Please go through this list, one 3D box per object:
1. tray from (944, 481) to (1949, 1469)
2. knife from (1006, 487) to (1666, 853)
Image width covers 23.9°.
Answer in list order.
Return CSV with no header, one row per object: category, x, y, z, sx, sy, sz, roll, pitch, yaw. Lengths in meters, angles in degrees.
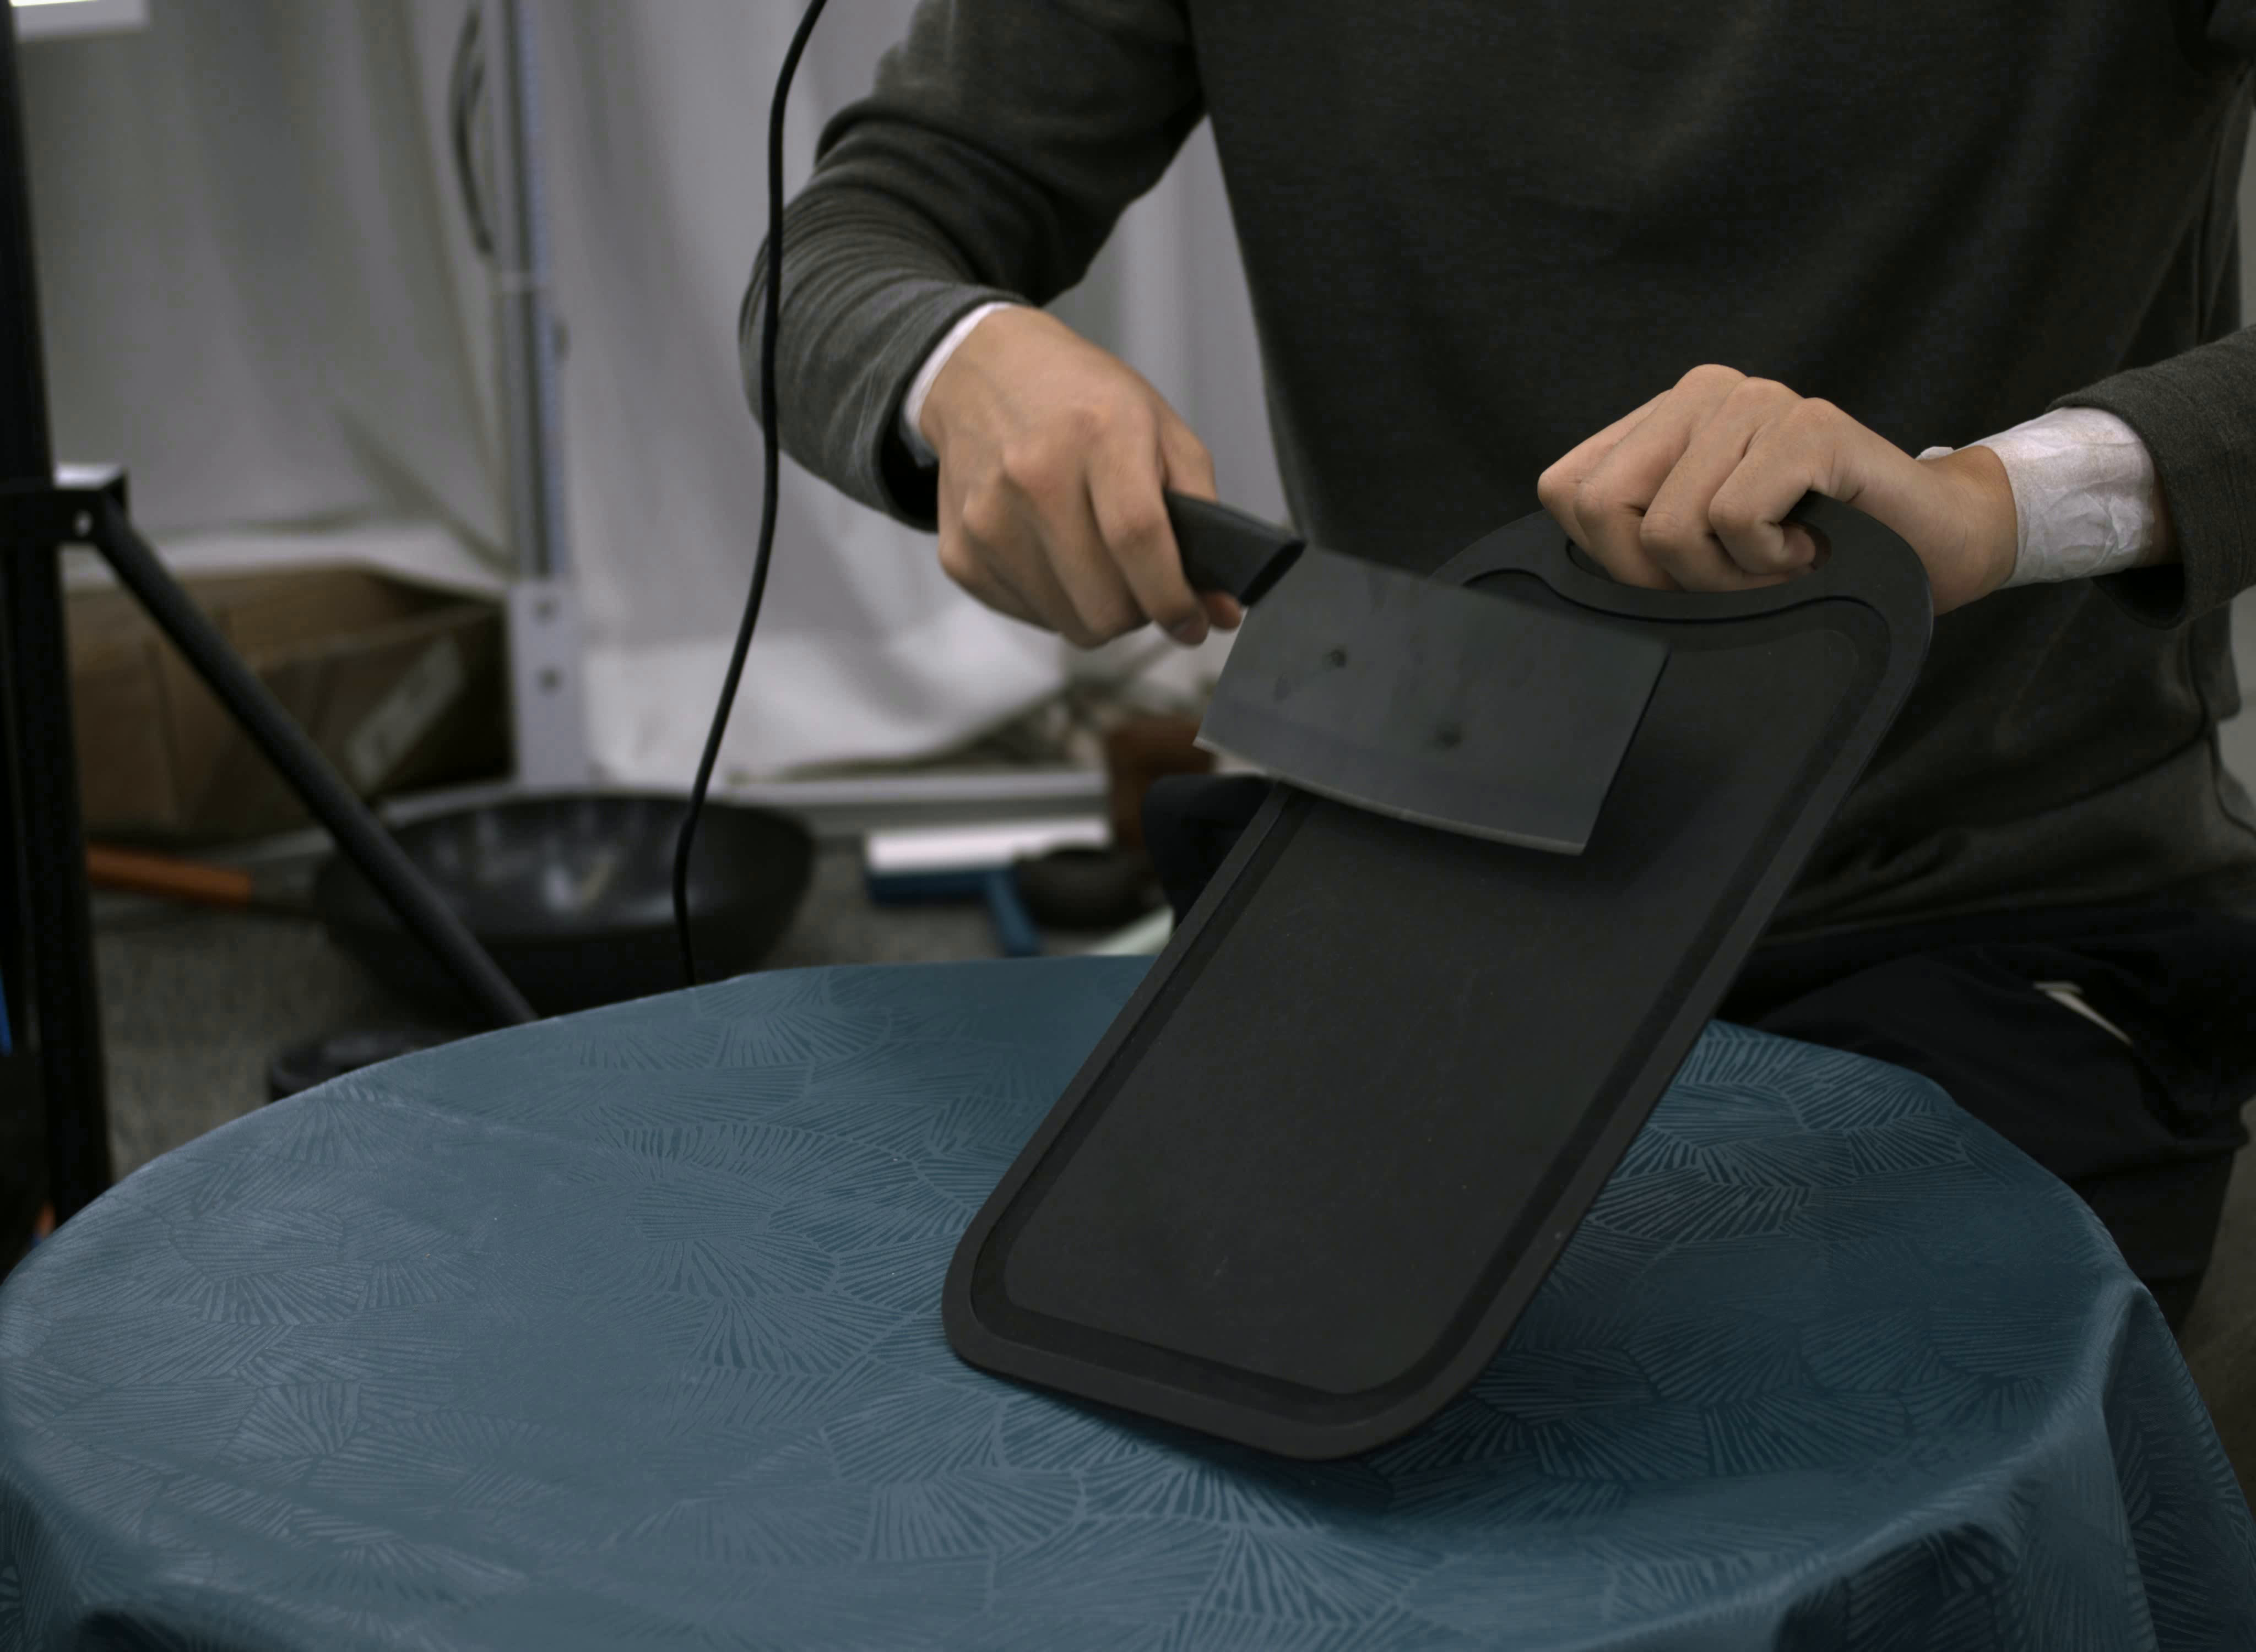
tray,0.087,0.028,1.435,0.216,0.009,0.324,10,59,50
knife,0.049,-0.050,1.525,0.020,0.081,0.309,27,0,-35
